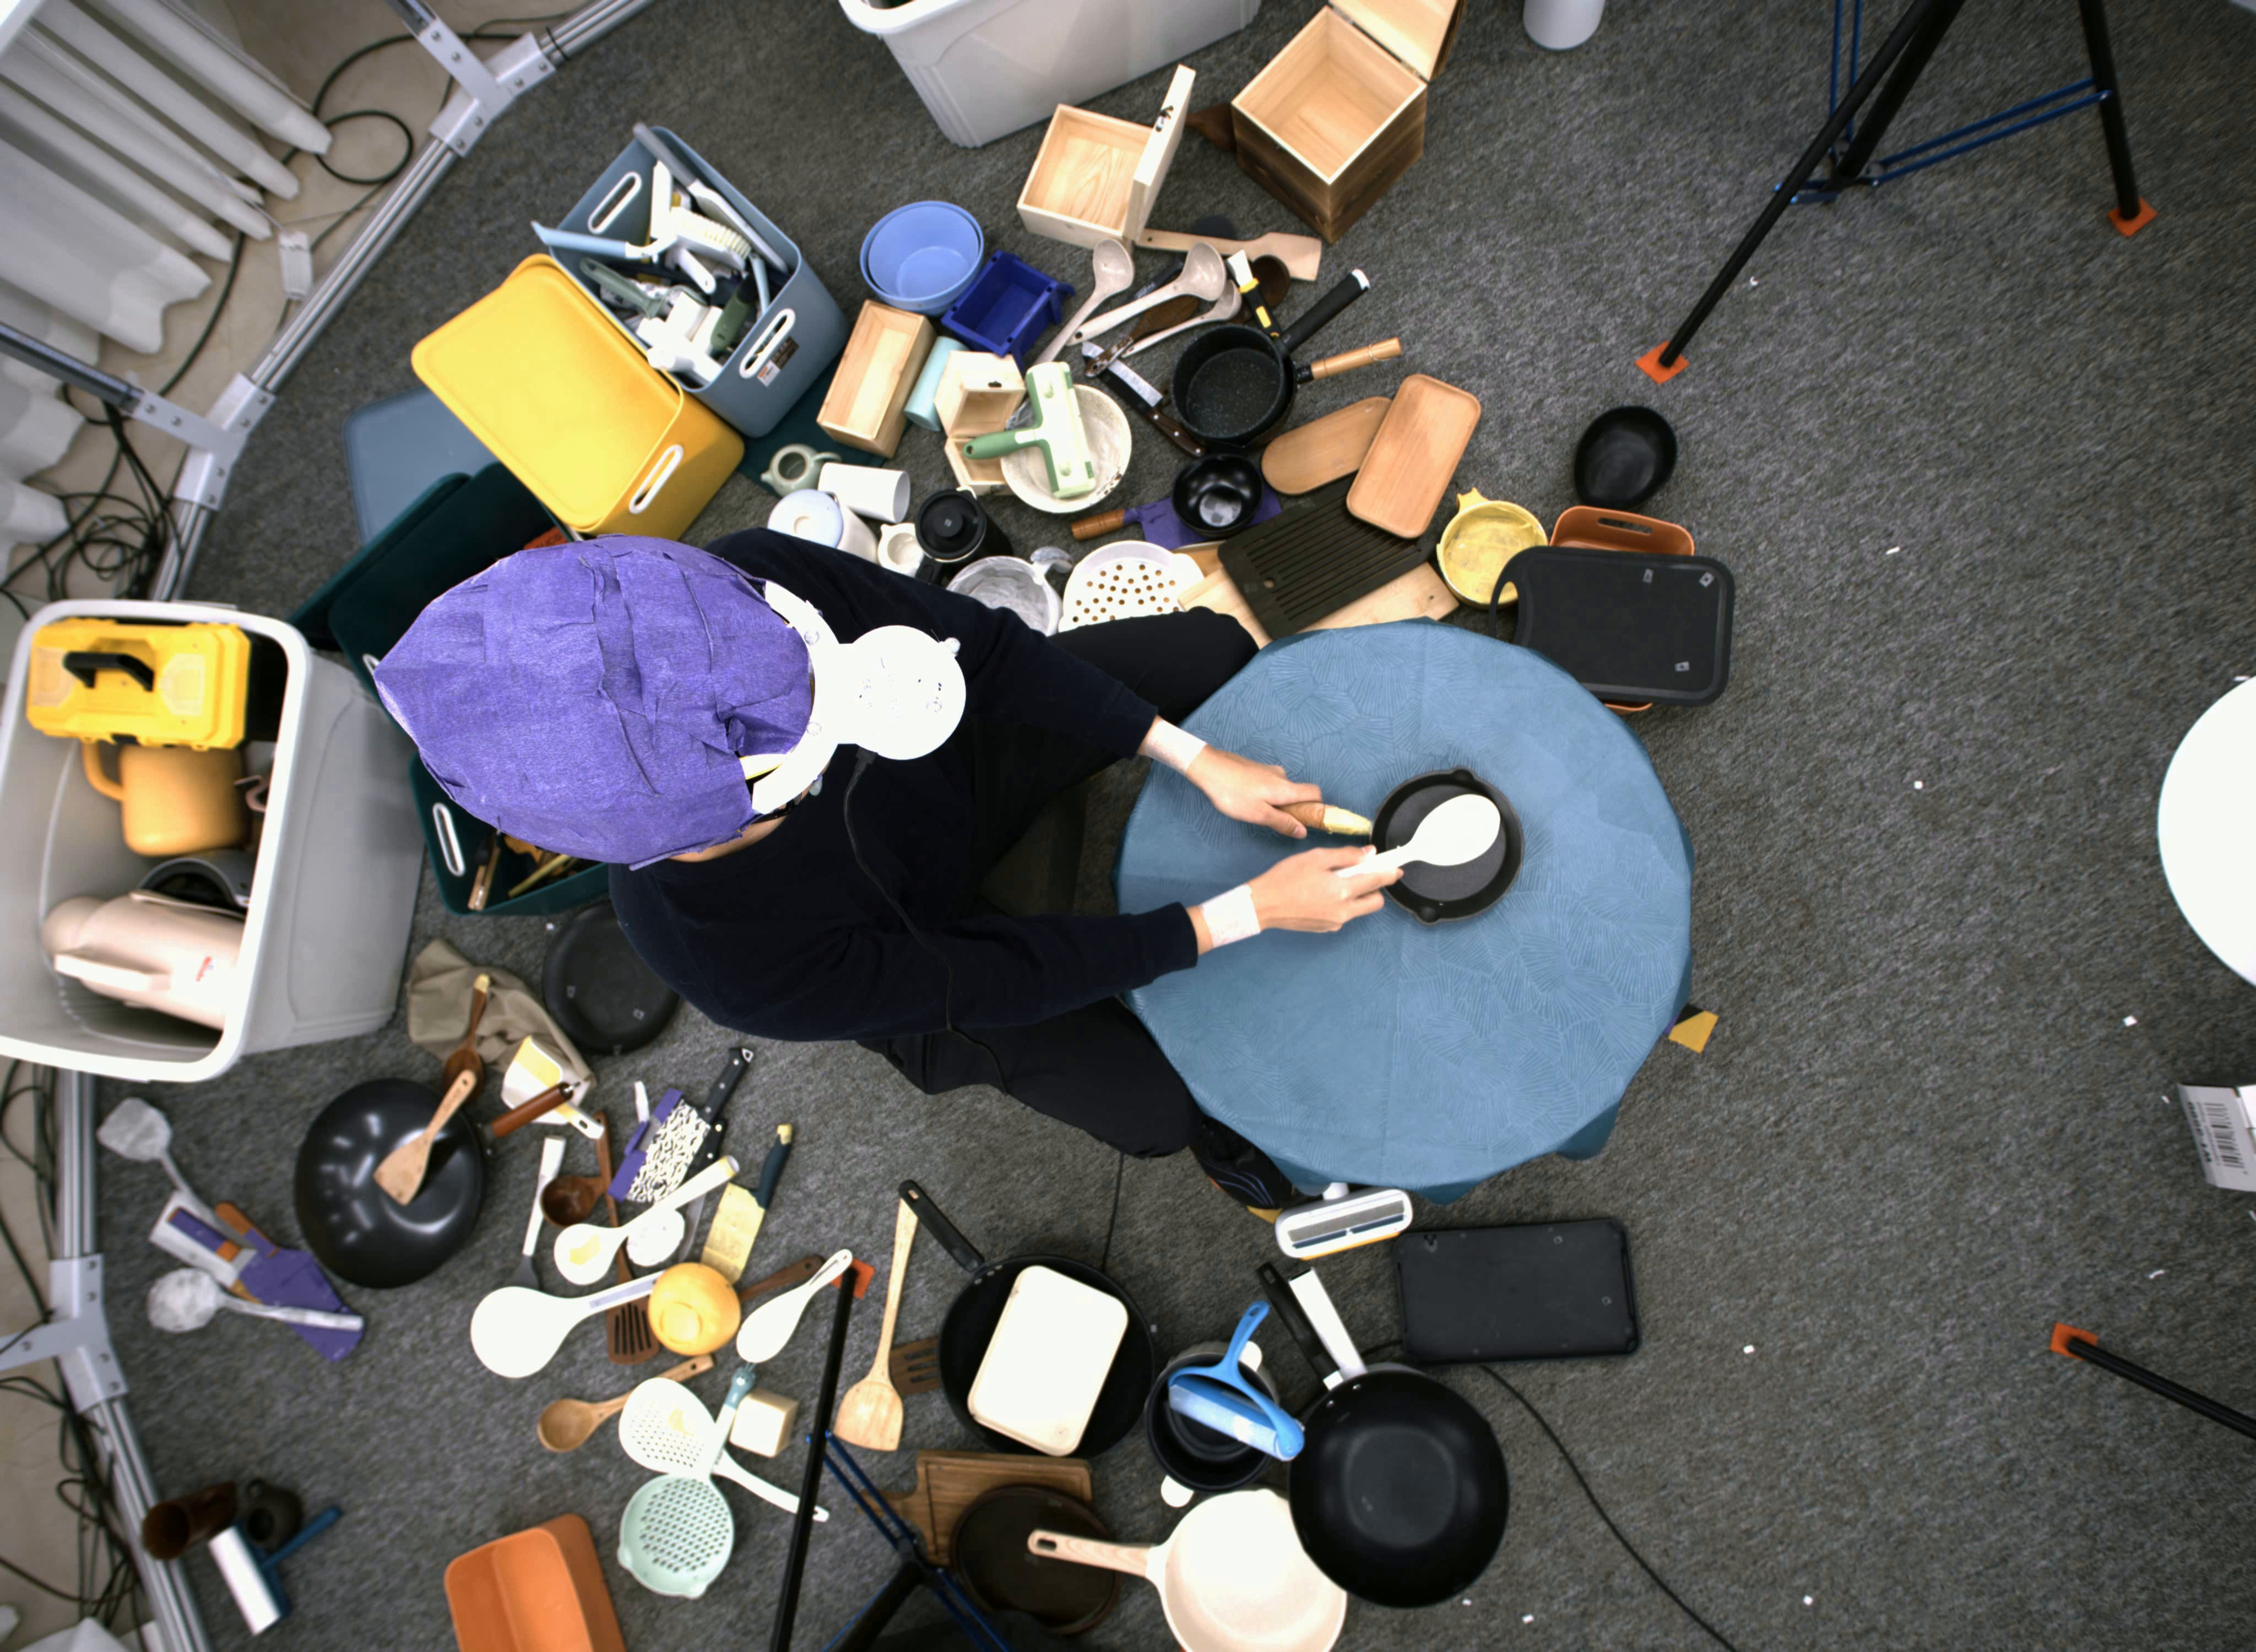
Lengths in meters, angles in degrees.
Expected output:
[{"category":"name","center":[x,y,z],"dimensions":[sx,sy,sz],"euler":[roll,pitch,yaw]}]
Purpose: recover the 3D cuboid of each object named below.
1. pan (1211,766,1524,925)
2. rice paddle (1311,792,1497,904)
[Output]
[{"category":"pan","center":[0.245,-0.003,1.429],"dimensions":[0.324,0.049,0.170],"euler":[15,103,9]},{"category":"rice paddle","center":[0.285,0.023,1.406],"dimensions":[0.205,0.029,0.069],"euler":[-24,106,-2]}]
